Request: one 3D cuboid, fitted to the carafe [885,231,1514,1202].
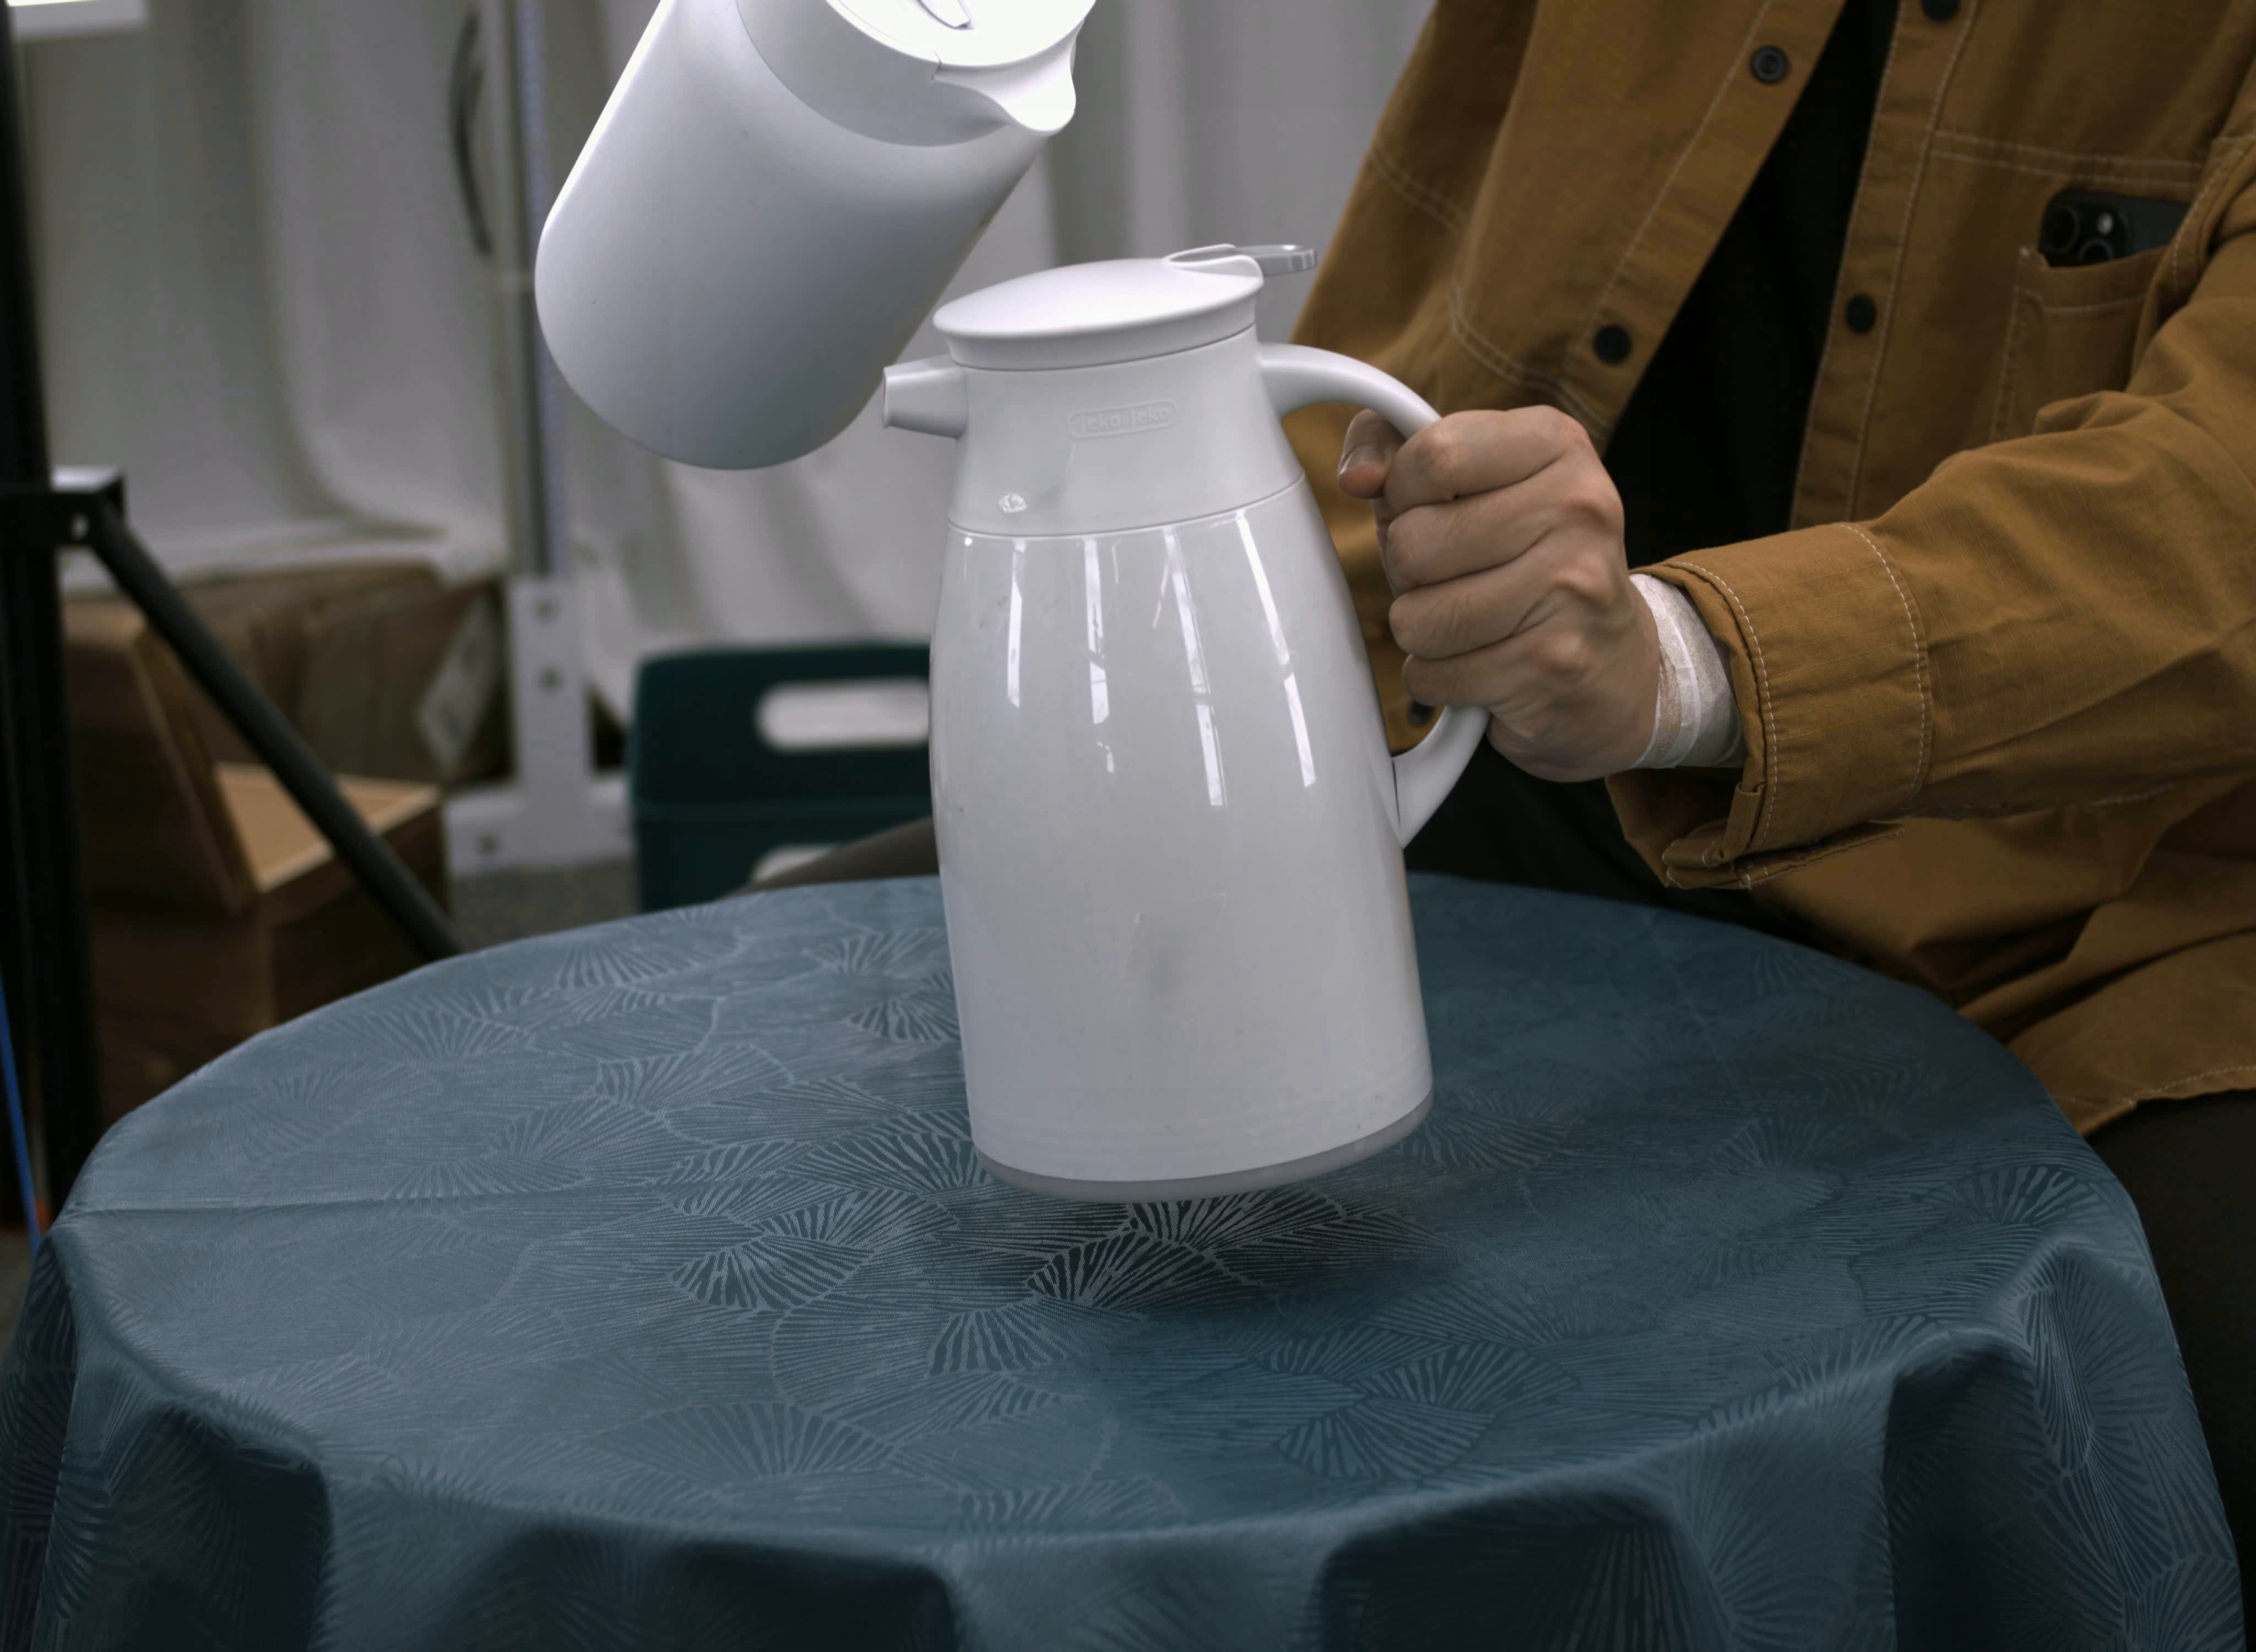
[{"bbox_3d":[0.026,-0.038,1.474,0.166,0.248,0.133,-7,14,-3],"label":"carafe"}]

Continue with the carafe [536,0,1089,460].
[{"bbox_3d":[-0.101,-0.227,1.593,0.122,0.174,0.270,-25,-11,-24],"label":"carafe"}]
